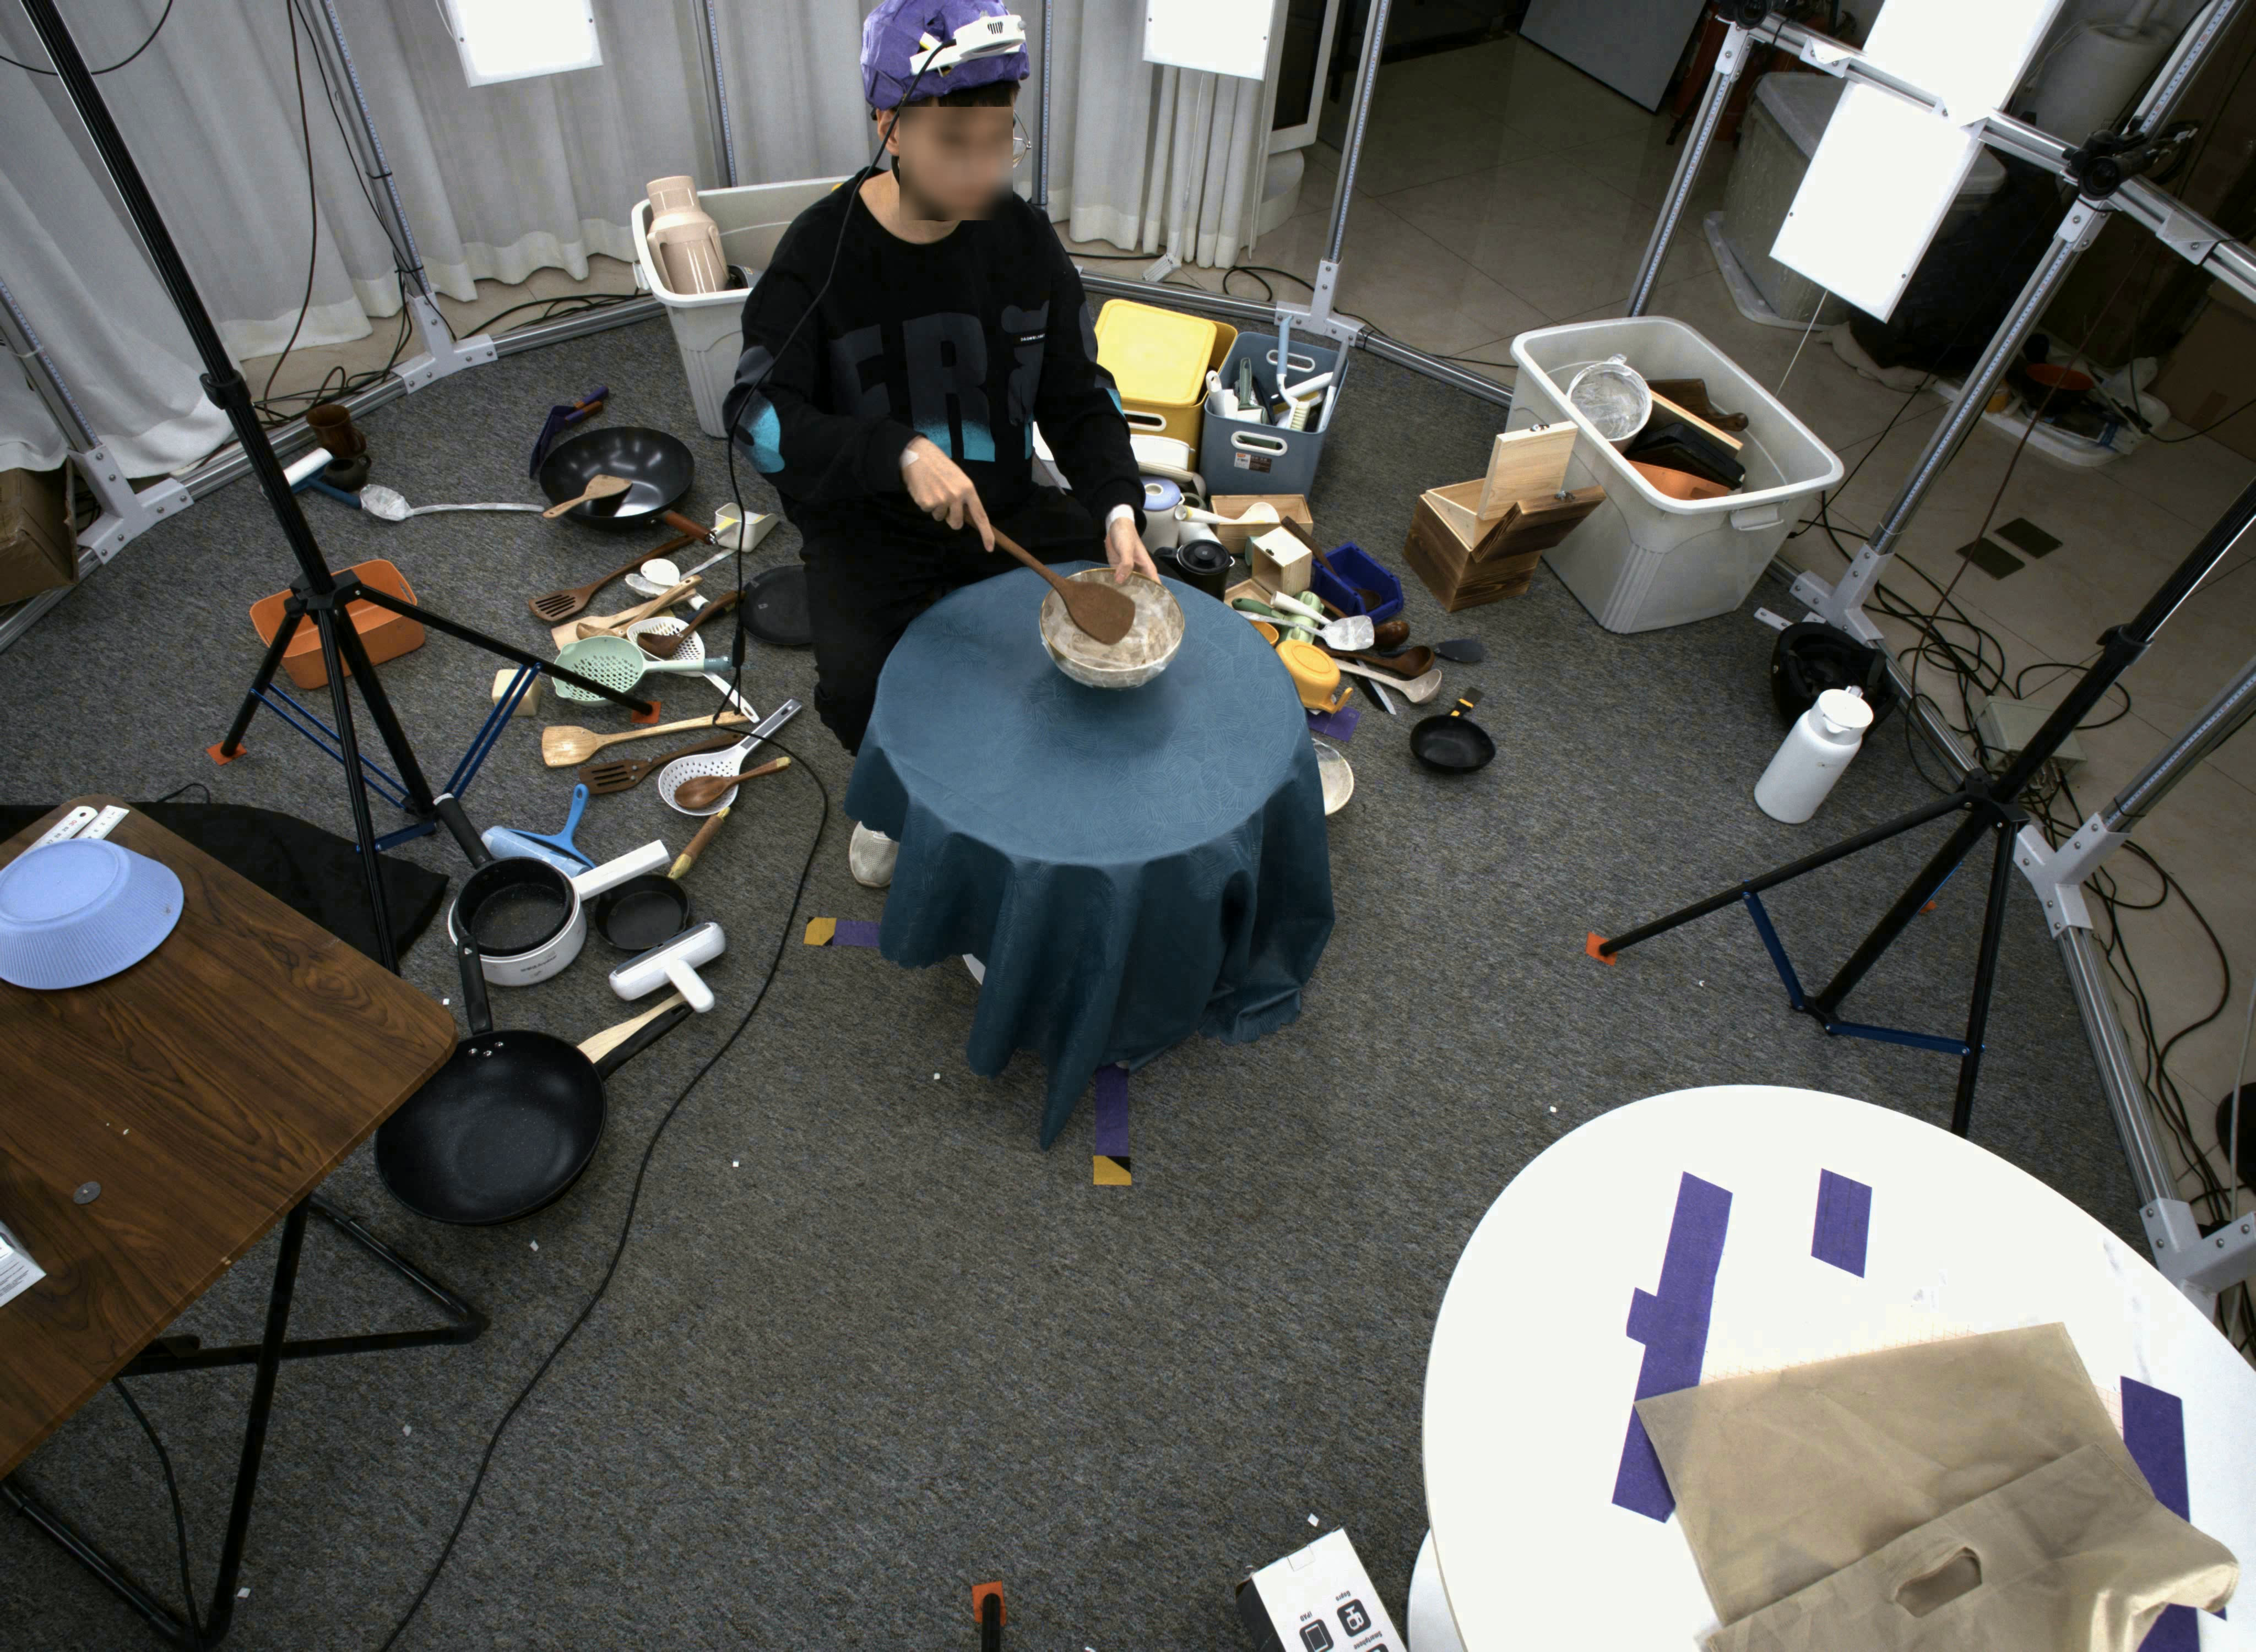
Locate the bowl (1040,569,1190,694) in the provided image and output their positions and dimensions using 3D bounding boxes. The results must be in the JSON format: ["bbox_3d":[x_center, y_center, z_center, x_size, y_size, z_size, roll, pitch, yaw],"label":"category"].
[{"bbox_3d":[-0.021,-0.260,1.817,0.214,0.092,0.220,1,51,-1],"label":"bowl"}]

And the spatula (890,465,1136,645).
[{"bbox_3d":[-0.156,-0.376,1.760,0.384,0.015,0.098,34,56,-8],"label":"spatula"}]
